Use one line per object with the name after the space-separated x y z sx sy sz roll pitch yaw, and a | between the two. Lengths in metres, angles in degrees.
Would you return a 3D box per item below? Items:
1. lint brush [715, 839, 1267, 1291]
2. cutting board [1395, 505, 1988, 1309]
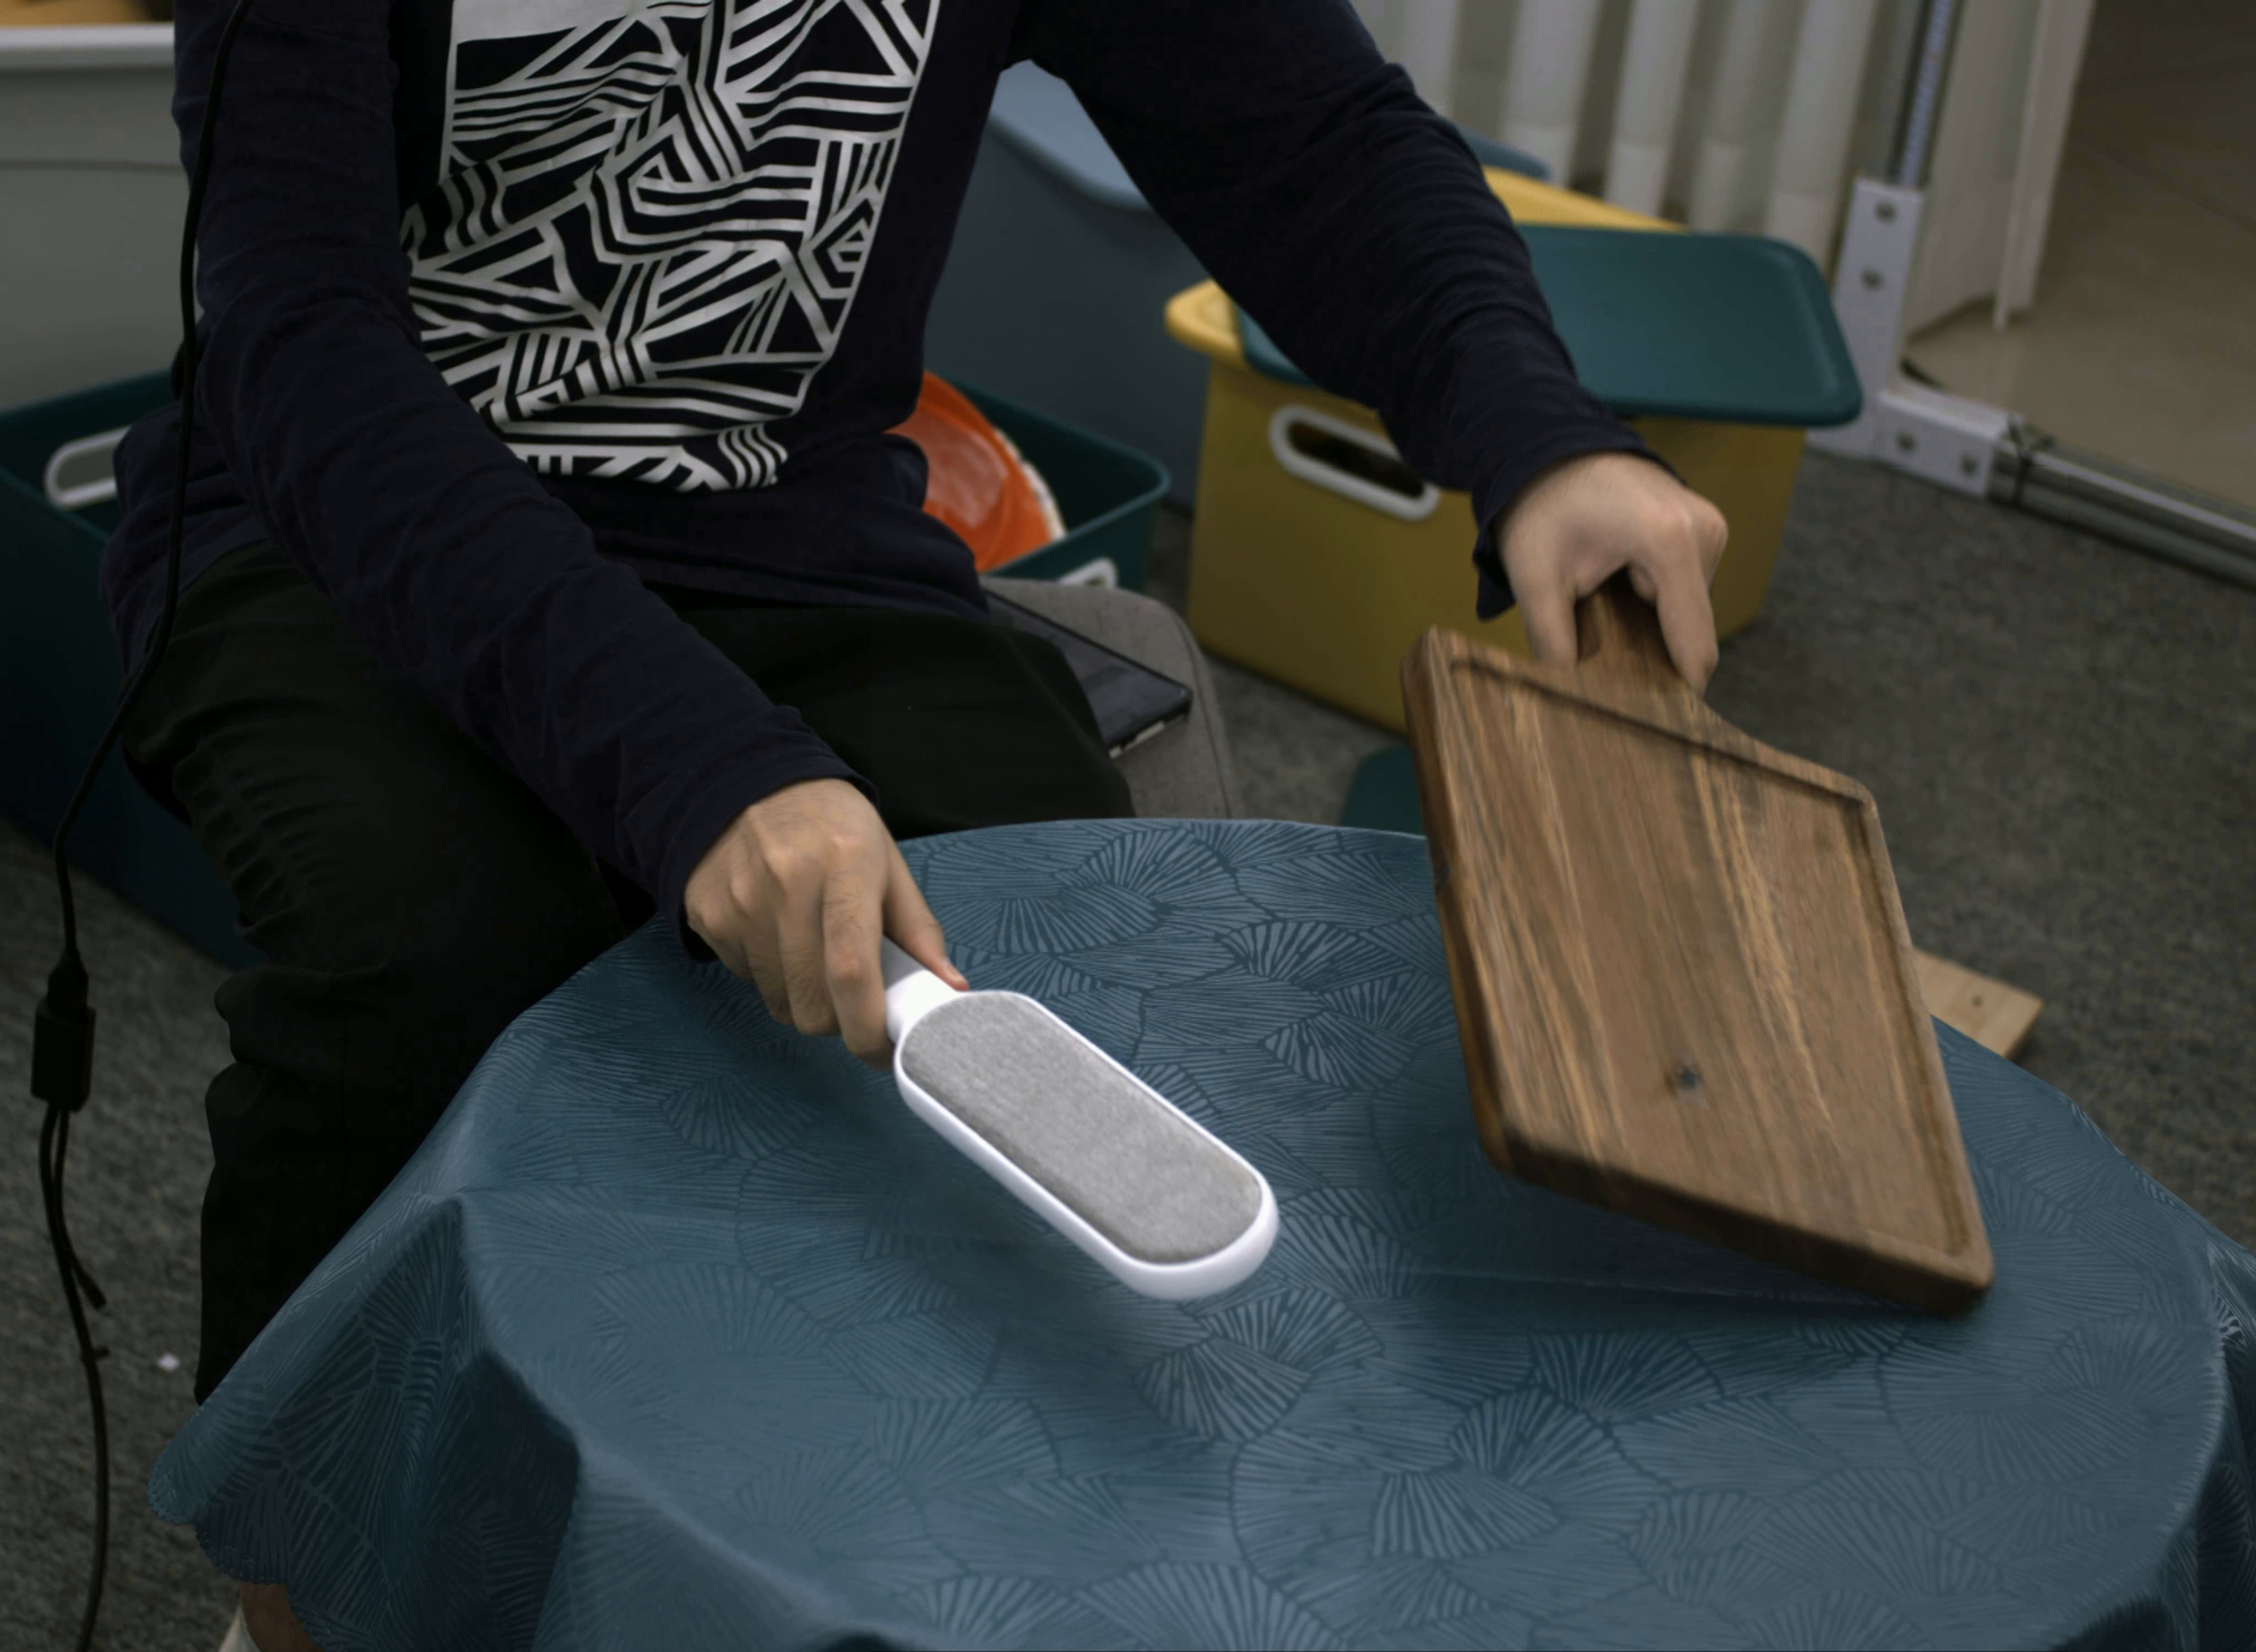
-0.053 0.072 1.772 0.060 0.021 0.311 -36 40 -17 | lint brush
0.189 0.009 1.875 0.199 0.023 0.355 20 39 -22 | cutting board
